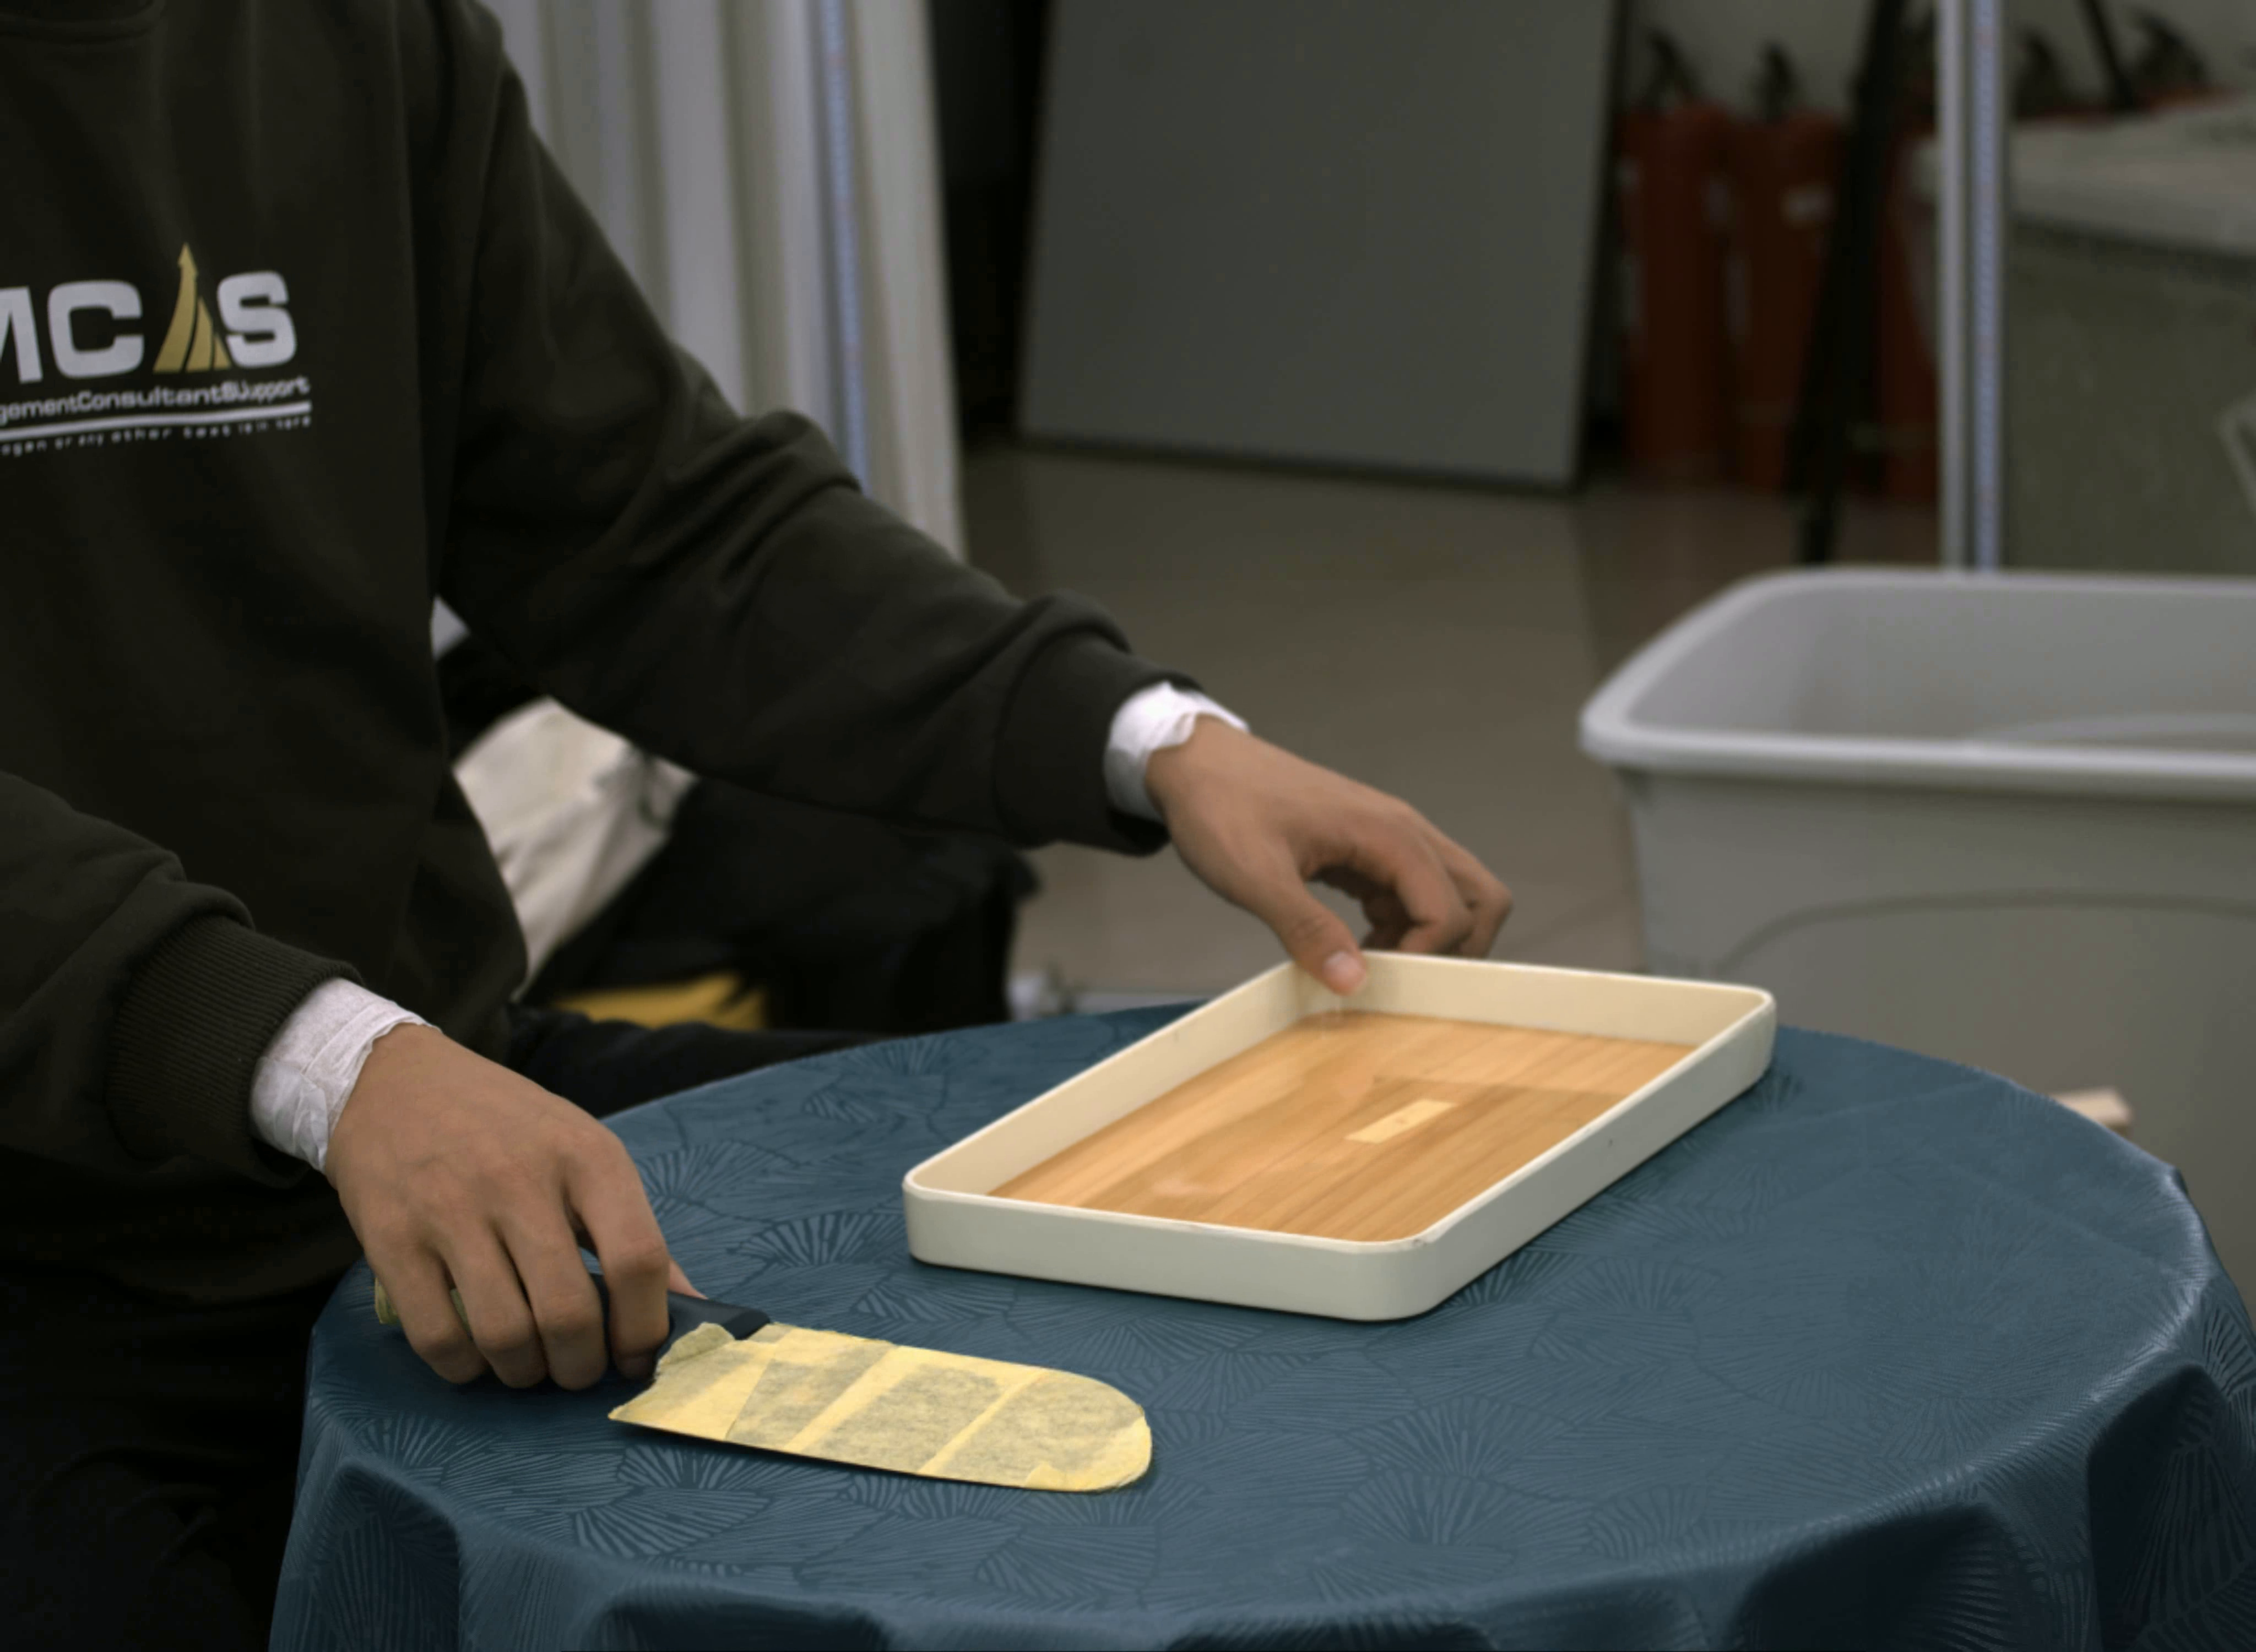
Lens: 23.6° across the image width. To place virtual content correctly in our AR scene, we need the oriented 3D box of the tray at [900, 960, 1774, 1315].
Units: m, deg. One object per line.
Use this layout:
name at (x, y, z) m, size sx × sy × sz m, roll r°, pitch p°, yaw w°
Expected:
tray at (0.076, 0.099, 1.788) m, size 0.192 × 0.028 × 0.295 m, roll 3°, pitch 15°, yaw 31°

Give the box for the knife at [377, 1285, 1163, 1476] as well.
knife at (-0.113, 0.166, 1.596) m, size 0.291 × 0.027 × 0.080 m, roll 5°, pitch 18°, yaw 32°
